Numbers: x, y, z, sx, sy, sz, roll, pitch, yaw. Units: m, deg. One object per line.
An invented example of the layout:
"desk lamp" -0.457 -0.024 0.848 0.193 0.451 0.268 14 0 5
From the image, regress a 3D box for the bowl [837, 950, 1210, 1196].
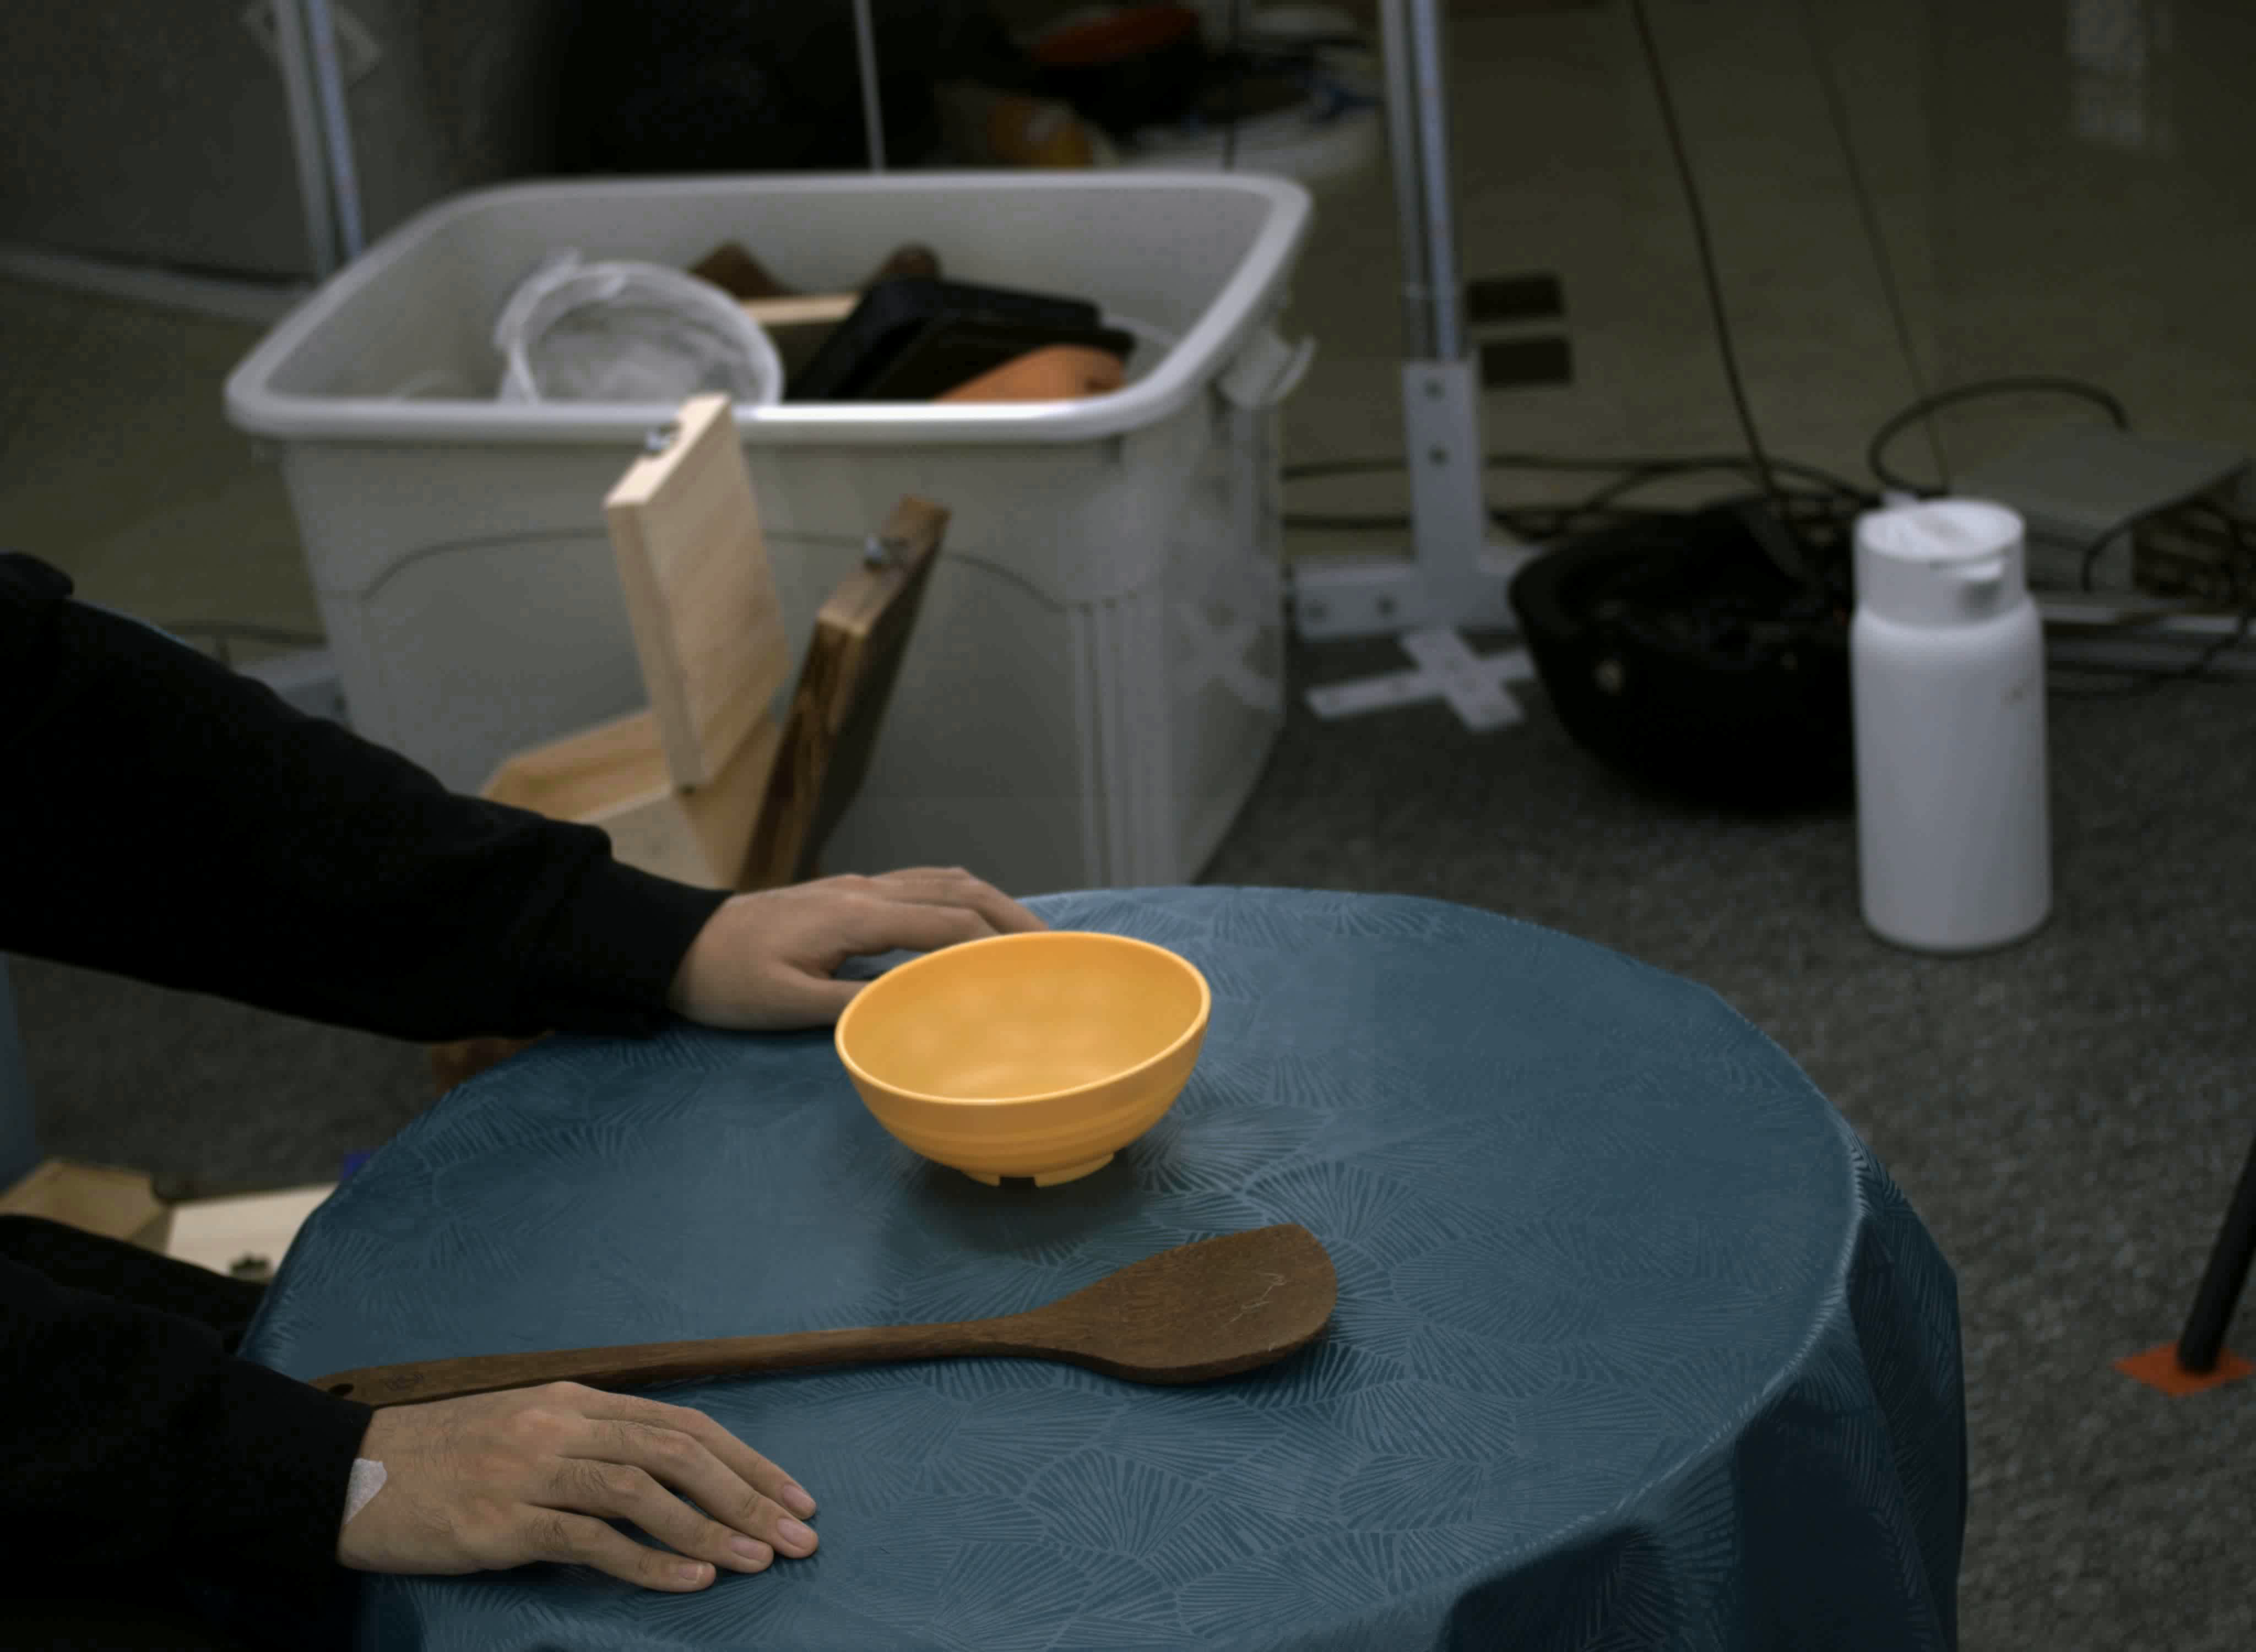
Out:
"bowl" -0.037 0.101 2.177 0.145 0.061 0.143 -6 22 3

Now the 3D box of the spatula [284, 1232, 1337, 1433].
"spatula" -0.116 0.190 2.056 0.385 0.016 0.095 -6 24 2
